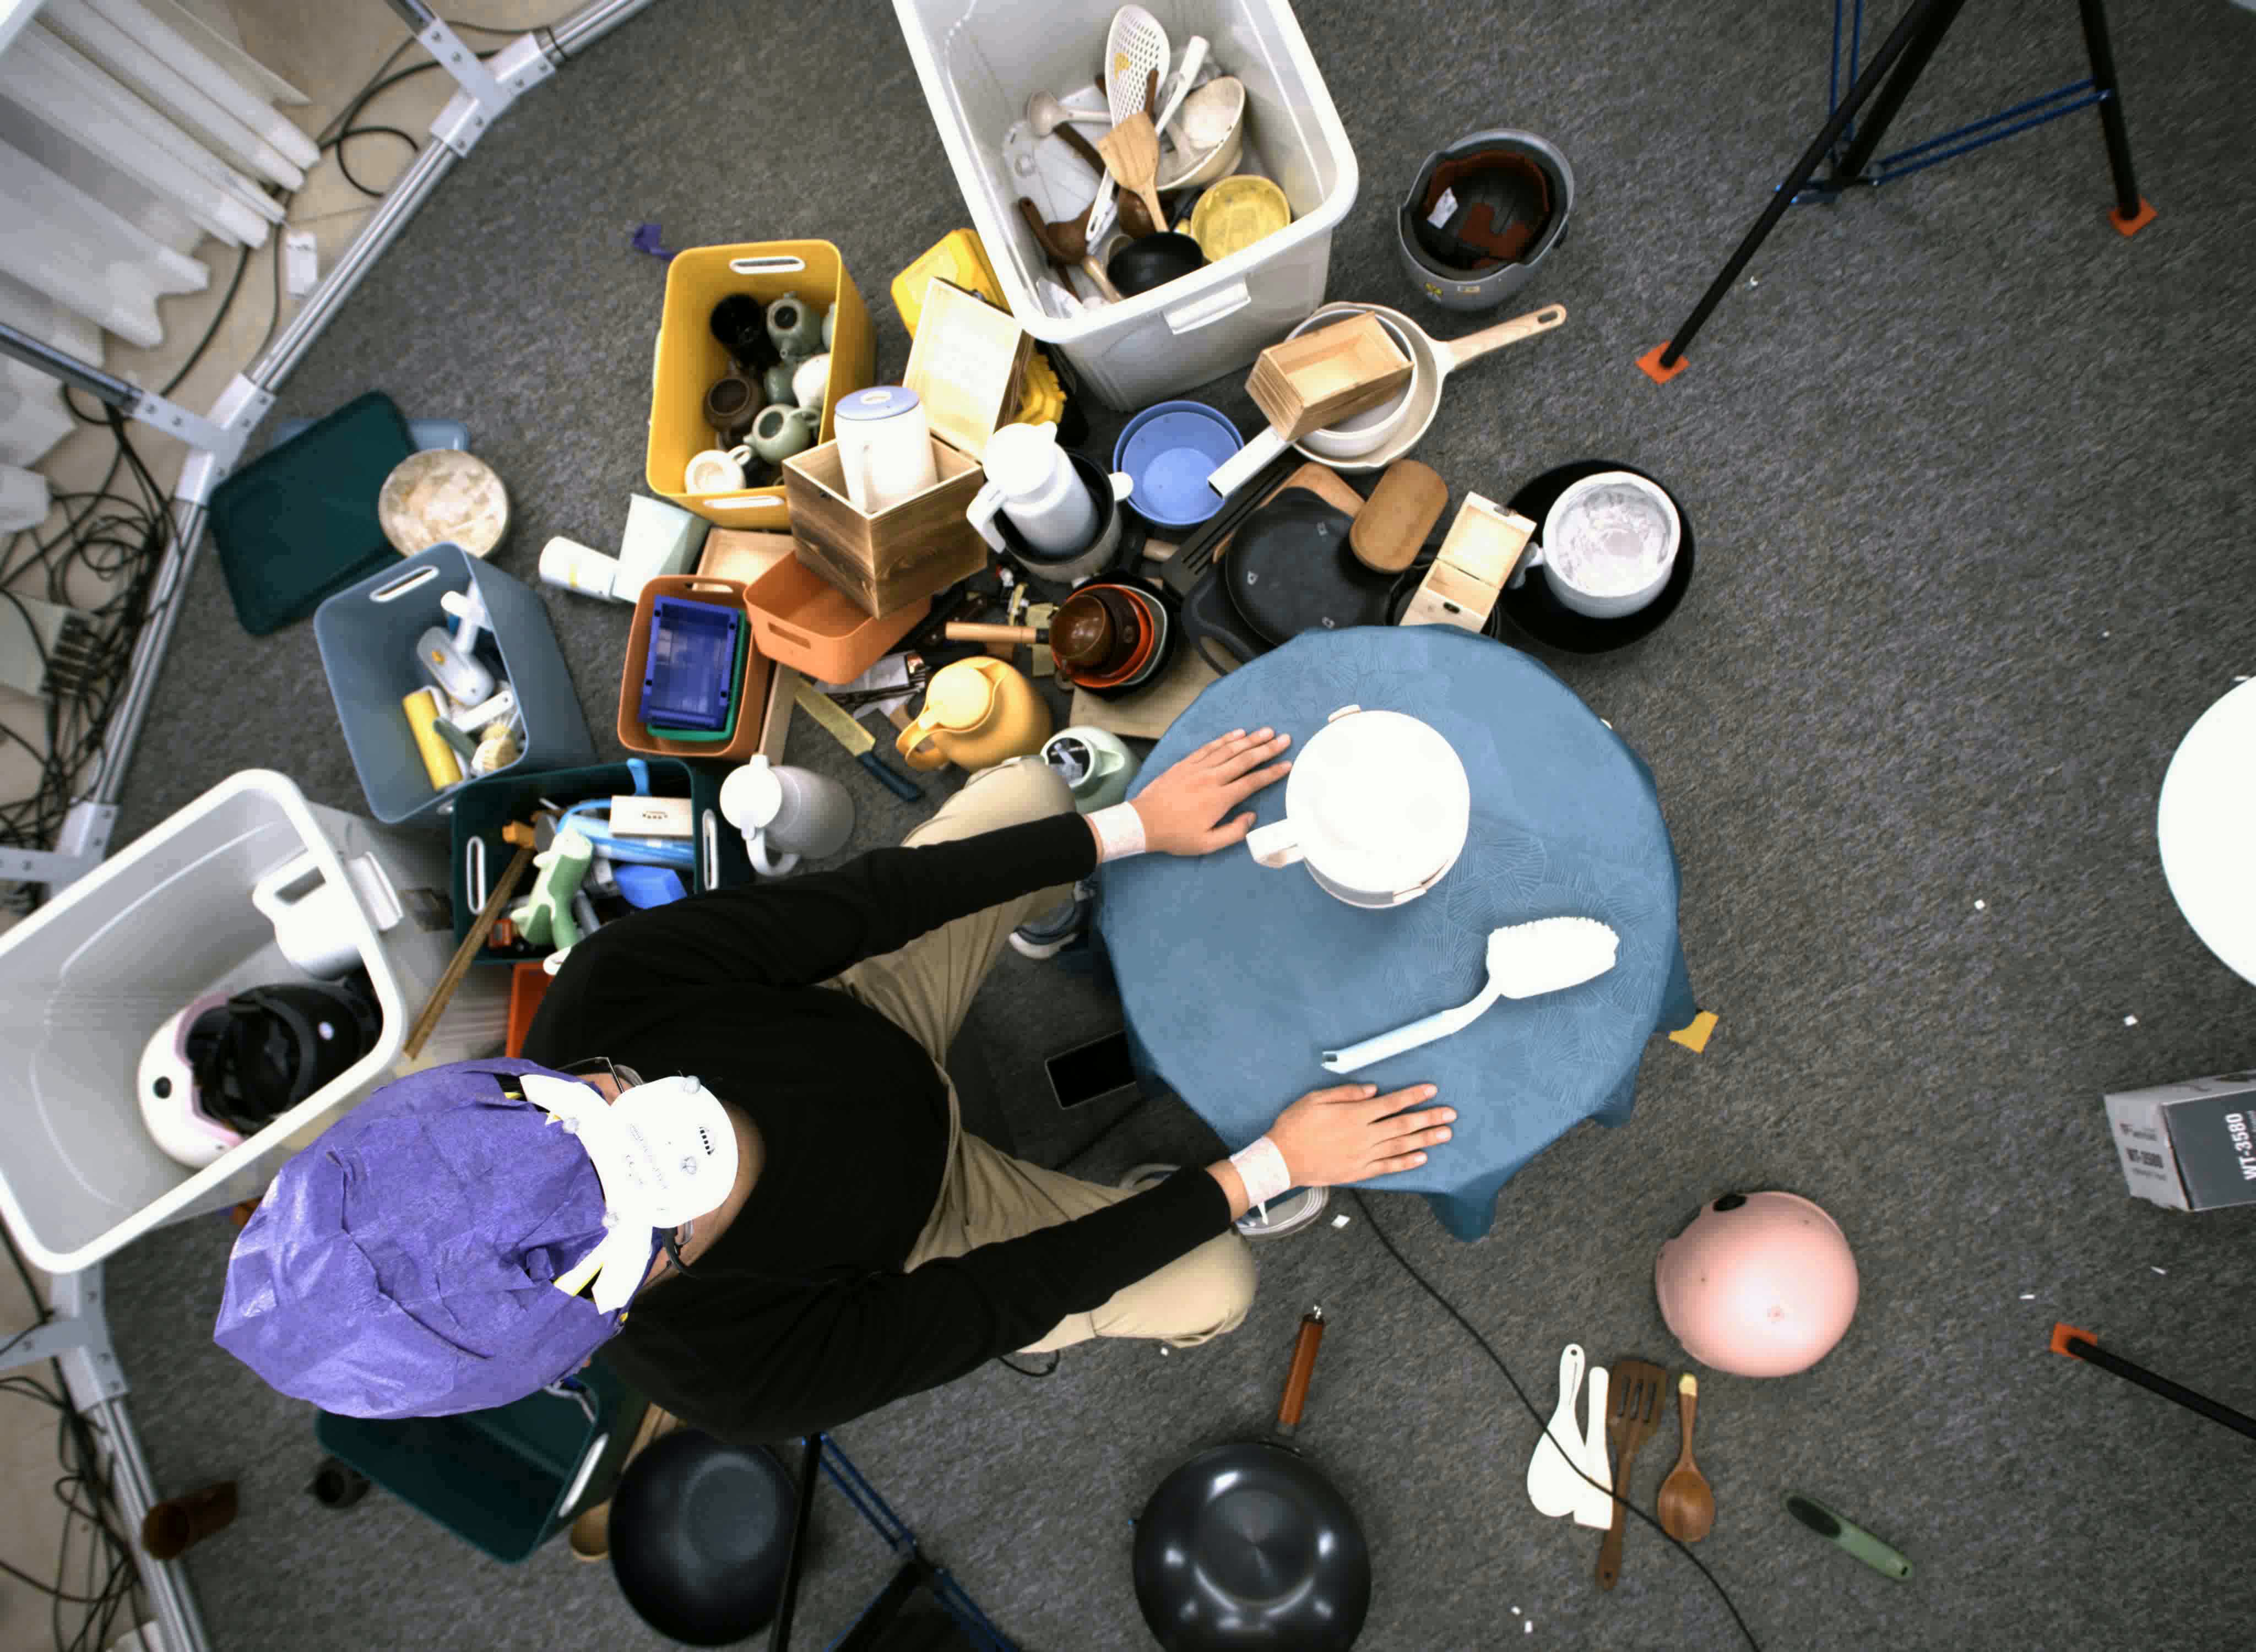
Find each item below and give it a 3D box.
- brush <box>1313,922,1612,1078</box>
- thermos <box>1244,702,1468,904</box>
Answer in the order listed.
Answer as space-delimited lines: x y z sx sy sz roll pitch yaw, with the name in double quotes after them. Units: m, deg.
0.335 0.169 1.402 0.327 0.083 0.084 -22 87 7 "brush"
0.213 -0.012 1.274 0.208 0.406 0.174 -20 83 7 "thermos"
